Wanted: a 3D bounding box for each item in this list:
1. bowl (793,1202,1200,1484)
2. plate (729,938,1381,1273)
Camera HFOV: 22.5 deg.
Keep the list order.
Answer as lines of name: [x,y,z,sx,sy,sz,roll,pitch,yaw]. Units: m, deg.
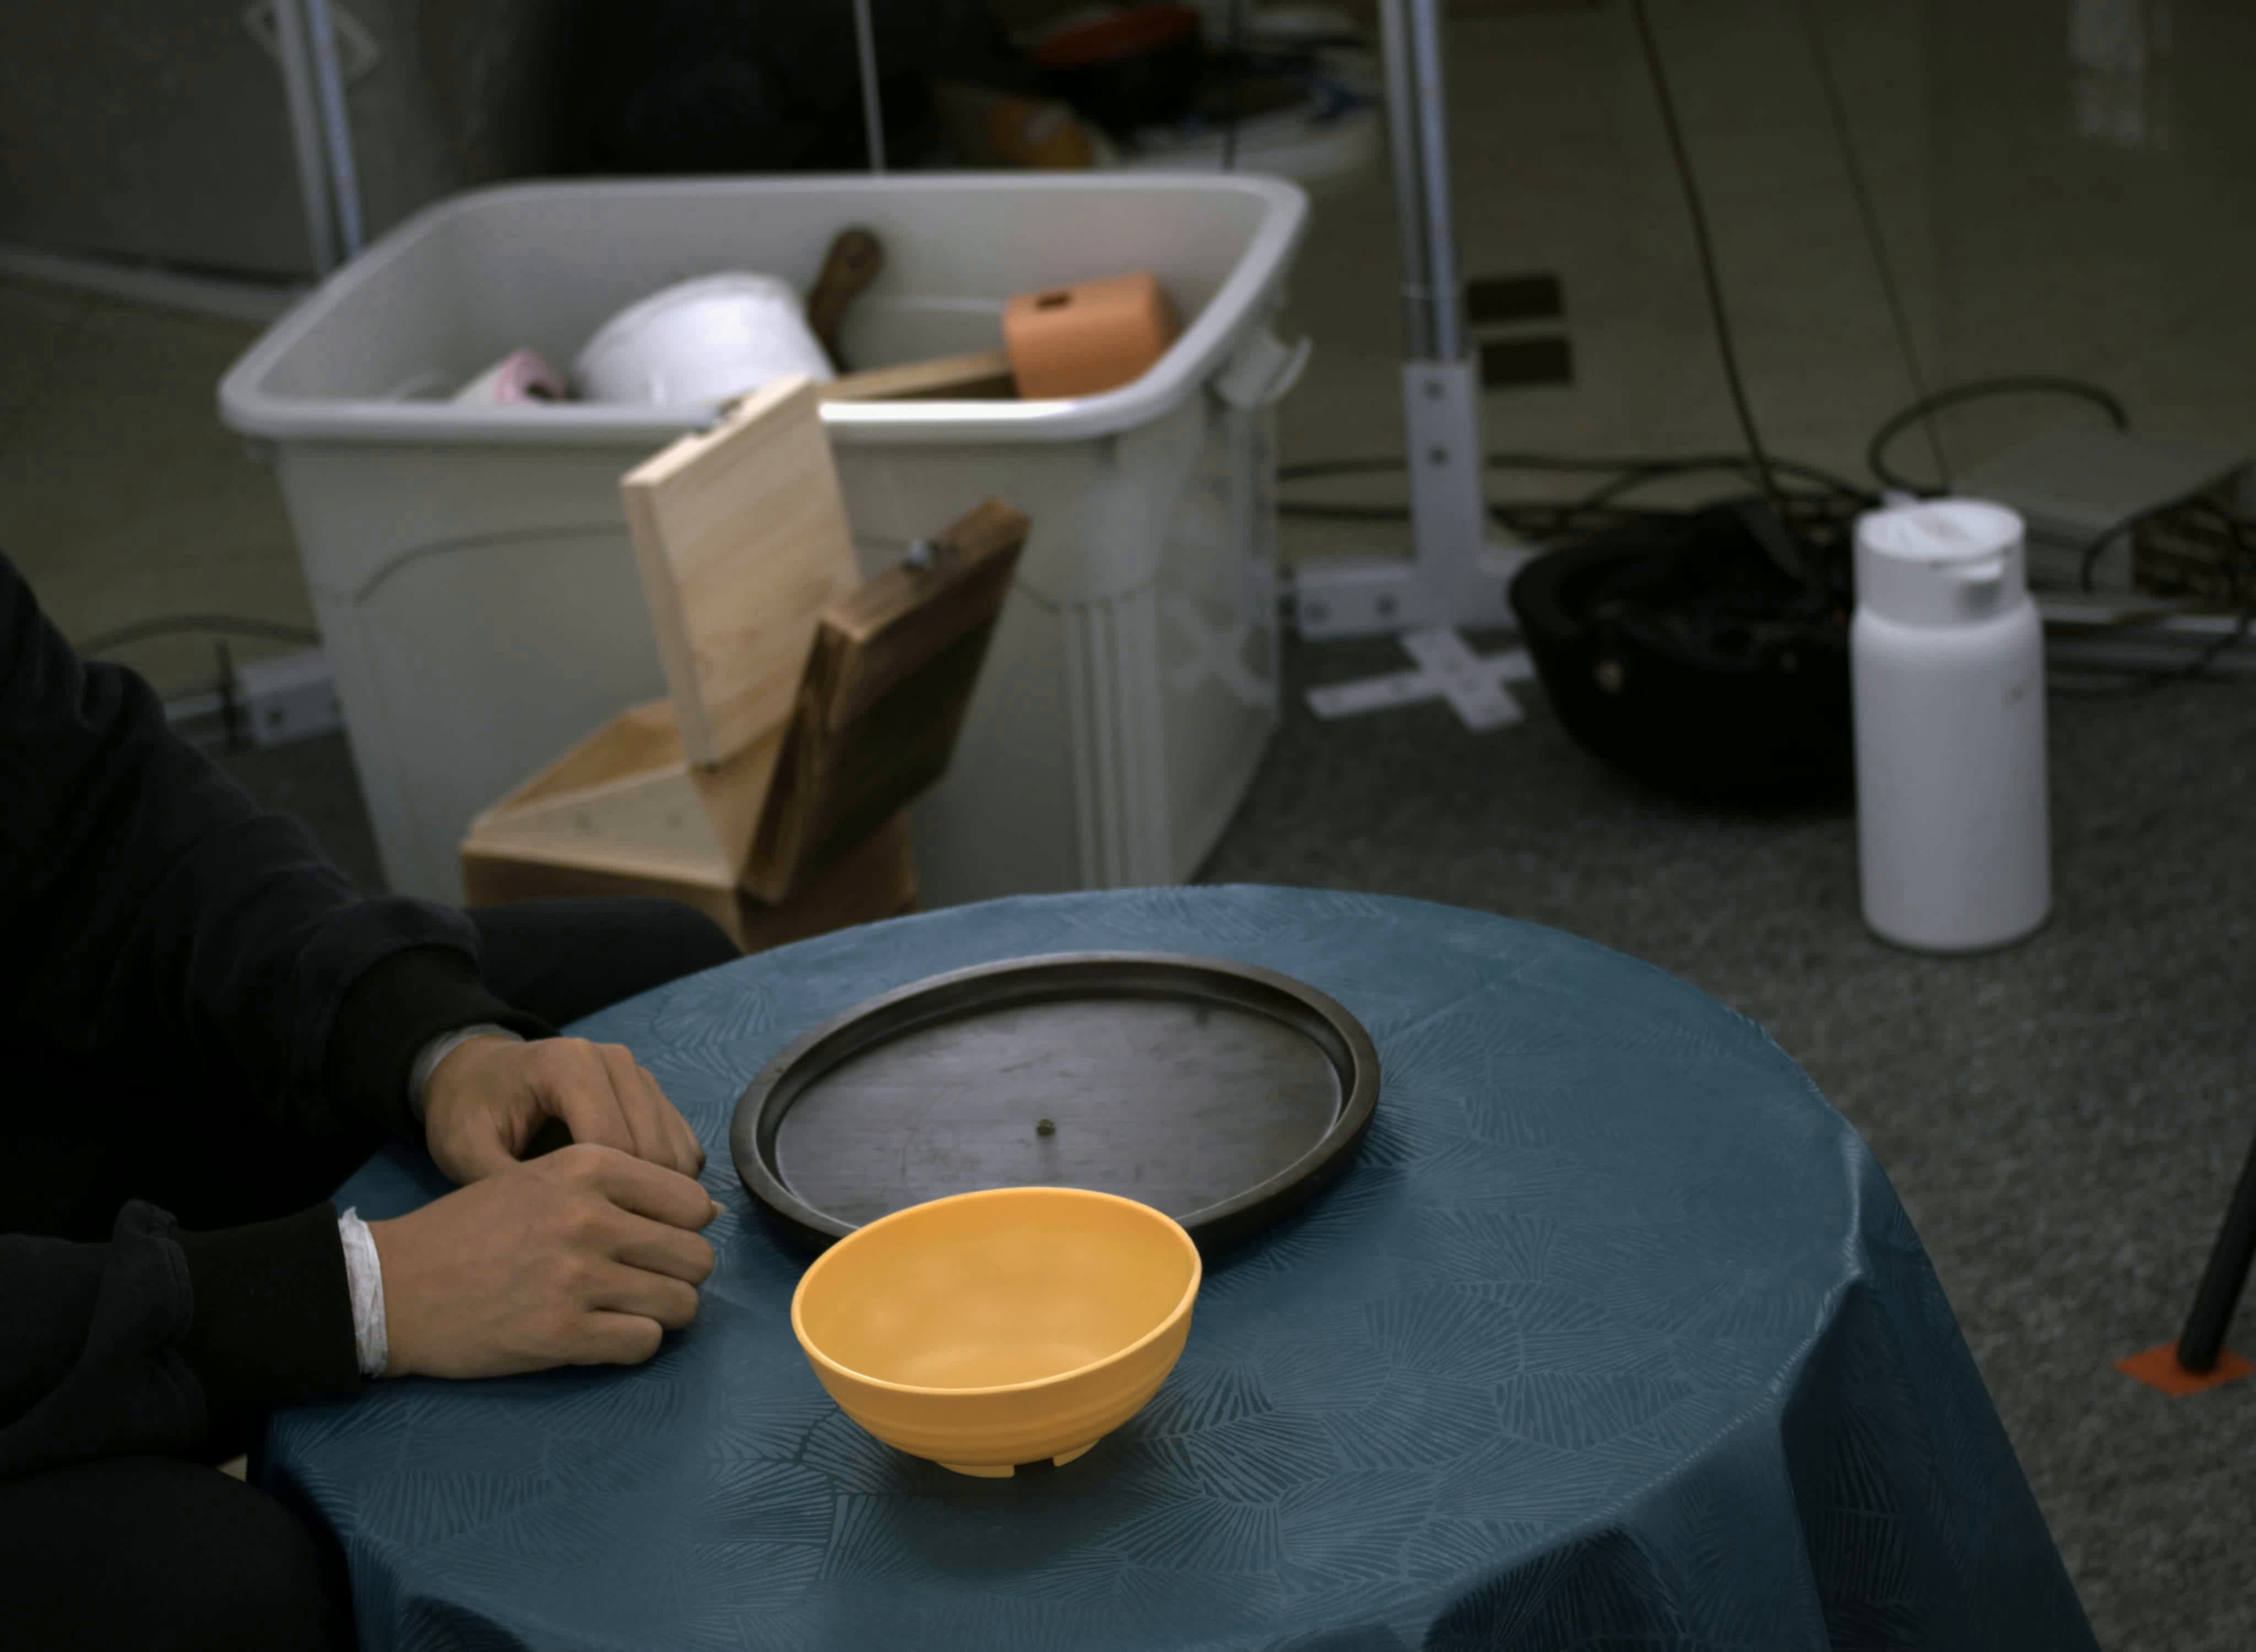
bowl: [-0.042,0.189,1.990,0.145,0.061,0.143,-7,23,3]
plate: [-0.027,0.114,2.187,0.254,0.029,0.251,-6,26,3]
